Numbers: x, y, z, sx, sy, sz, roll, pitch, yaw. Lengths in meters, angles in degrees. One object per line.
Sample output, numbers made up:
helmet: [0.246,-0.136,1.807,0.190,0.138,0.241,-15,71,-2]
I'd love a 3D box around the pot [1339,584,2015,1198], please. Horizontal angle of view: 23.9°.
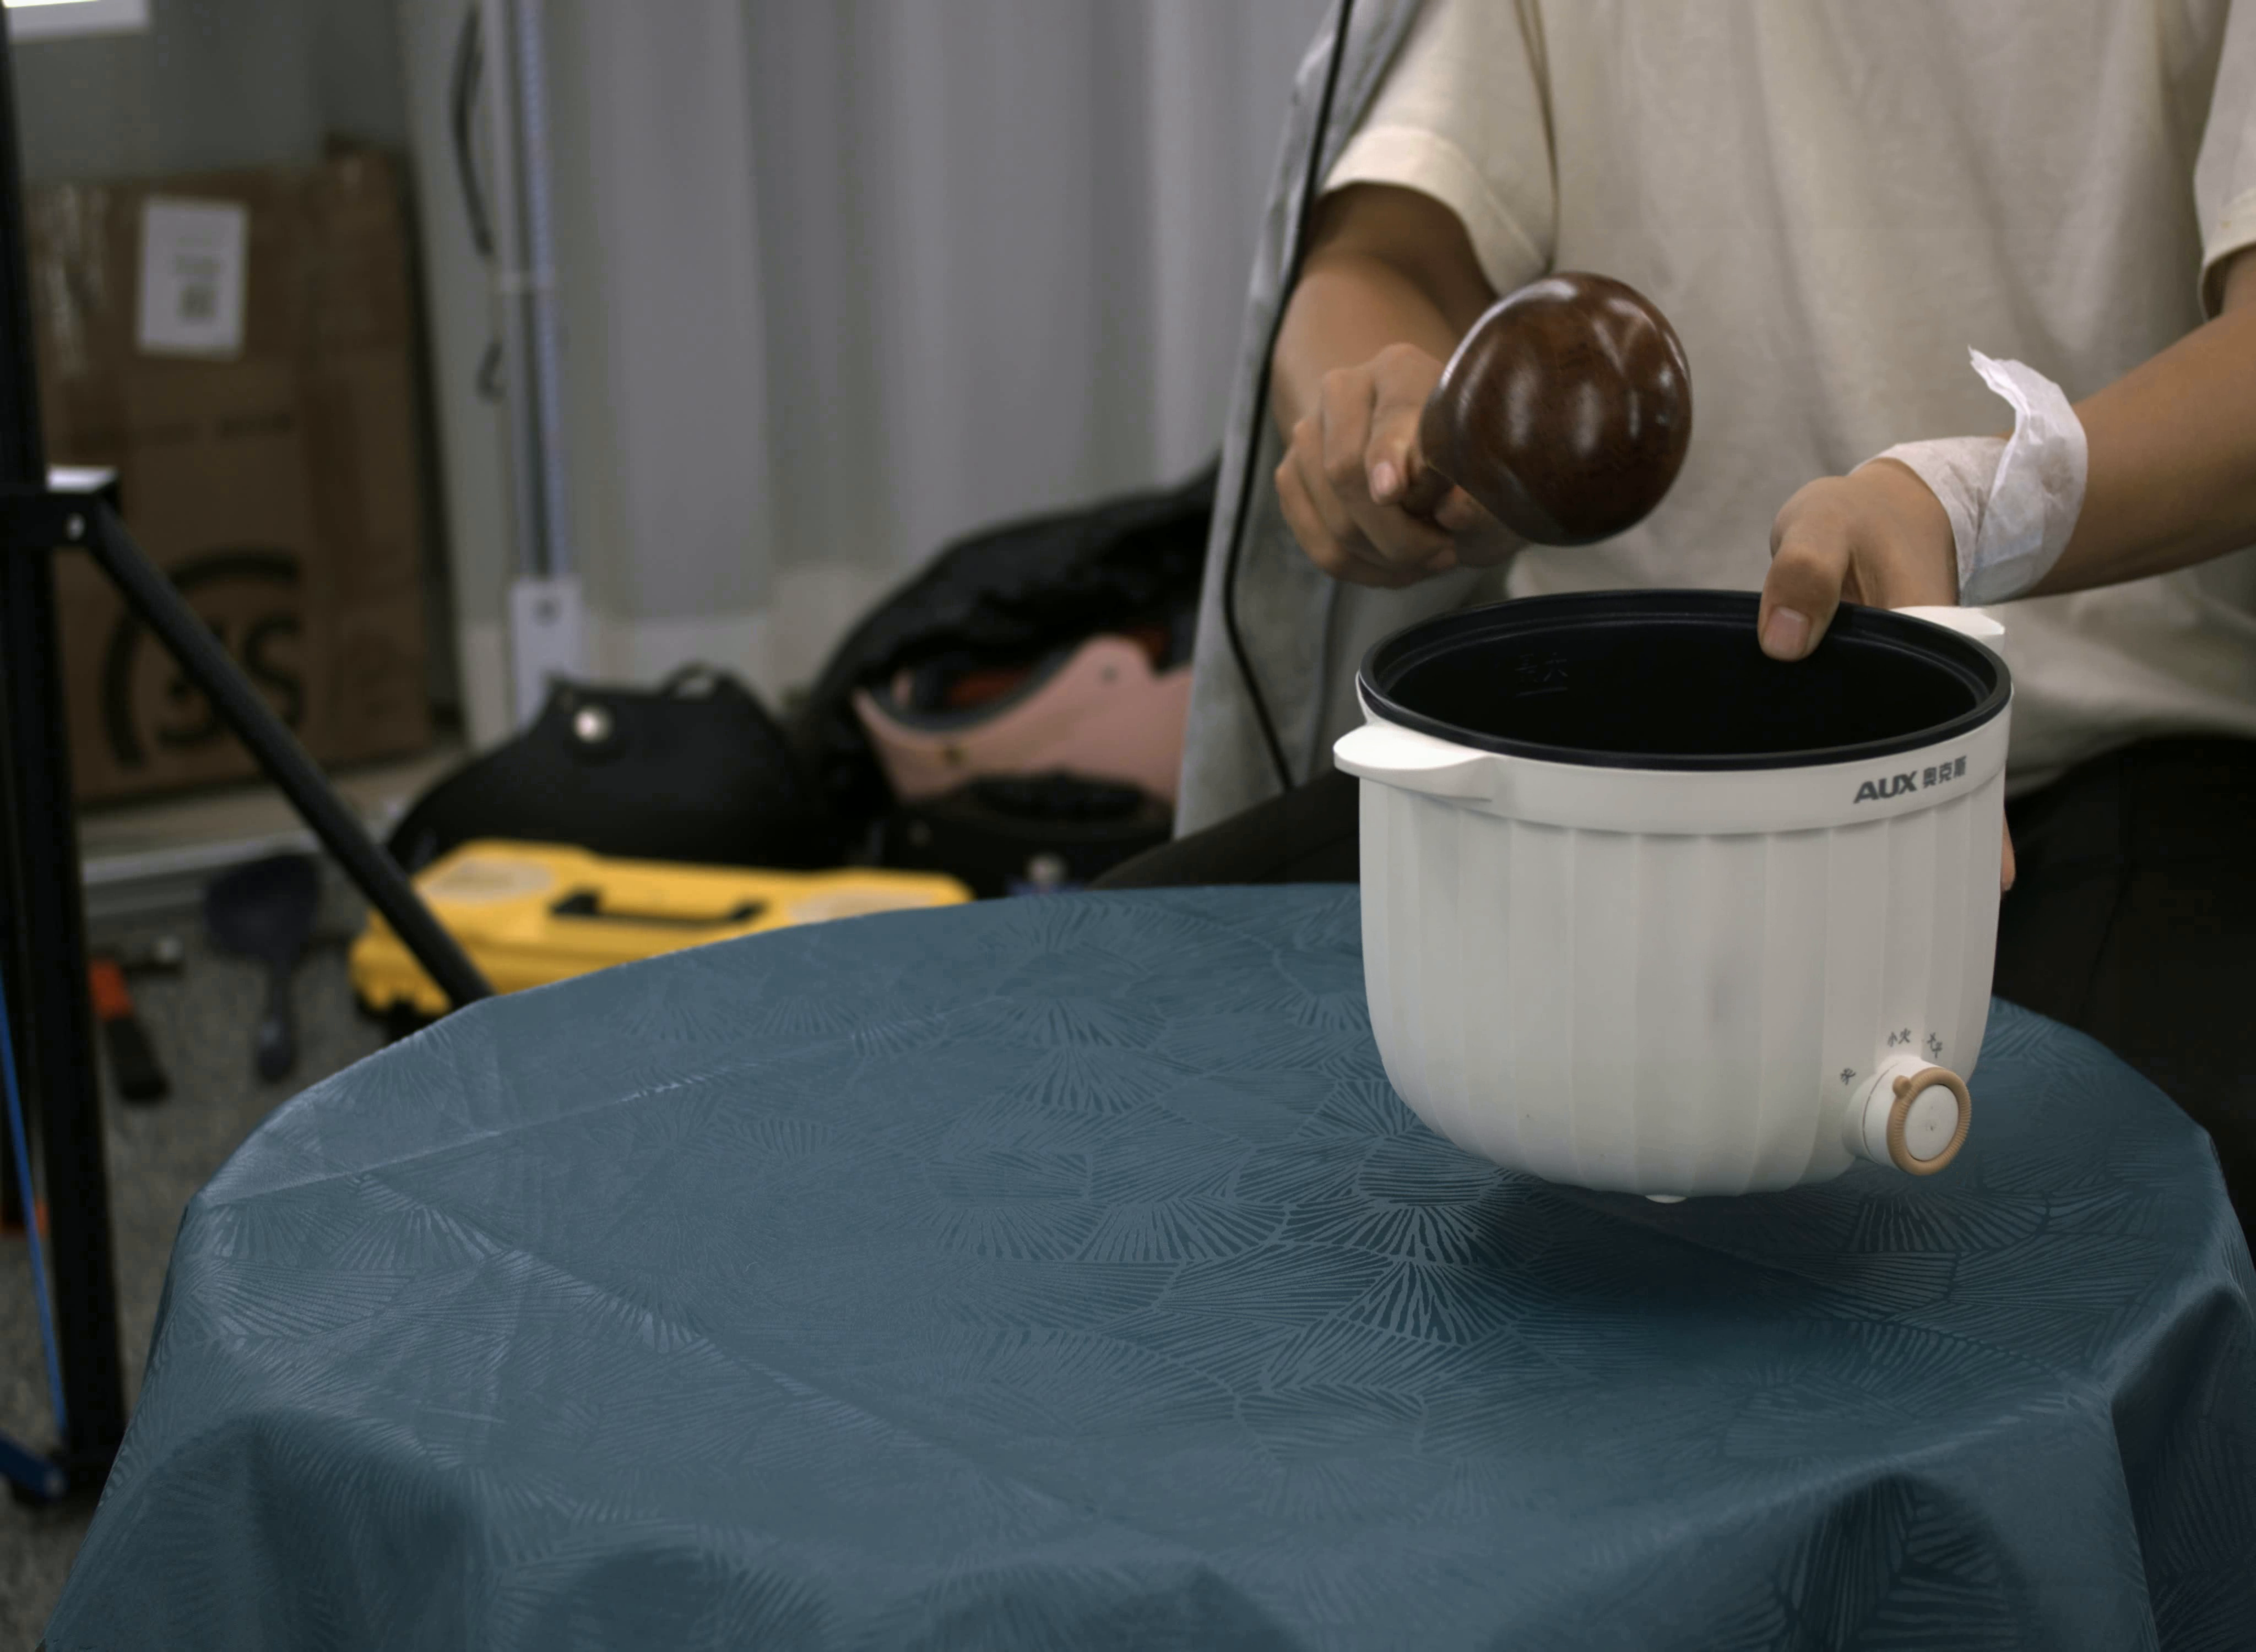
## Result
pot: [0.159,0.020,1.477,0.235,0.142,0.195,-14,17,-35]

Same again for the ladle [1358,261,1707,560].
ladle: [0.123,-0.114,1.655,0.076,0.082,0.274,4,-5,-2]
